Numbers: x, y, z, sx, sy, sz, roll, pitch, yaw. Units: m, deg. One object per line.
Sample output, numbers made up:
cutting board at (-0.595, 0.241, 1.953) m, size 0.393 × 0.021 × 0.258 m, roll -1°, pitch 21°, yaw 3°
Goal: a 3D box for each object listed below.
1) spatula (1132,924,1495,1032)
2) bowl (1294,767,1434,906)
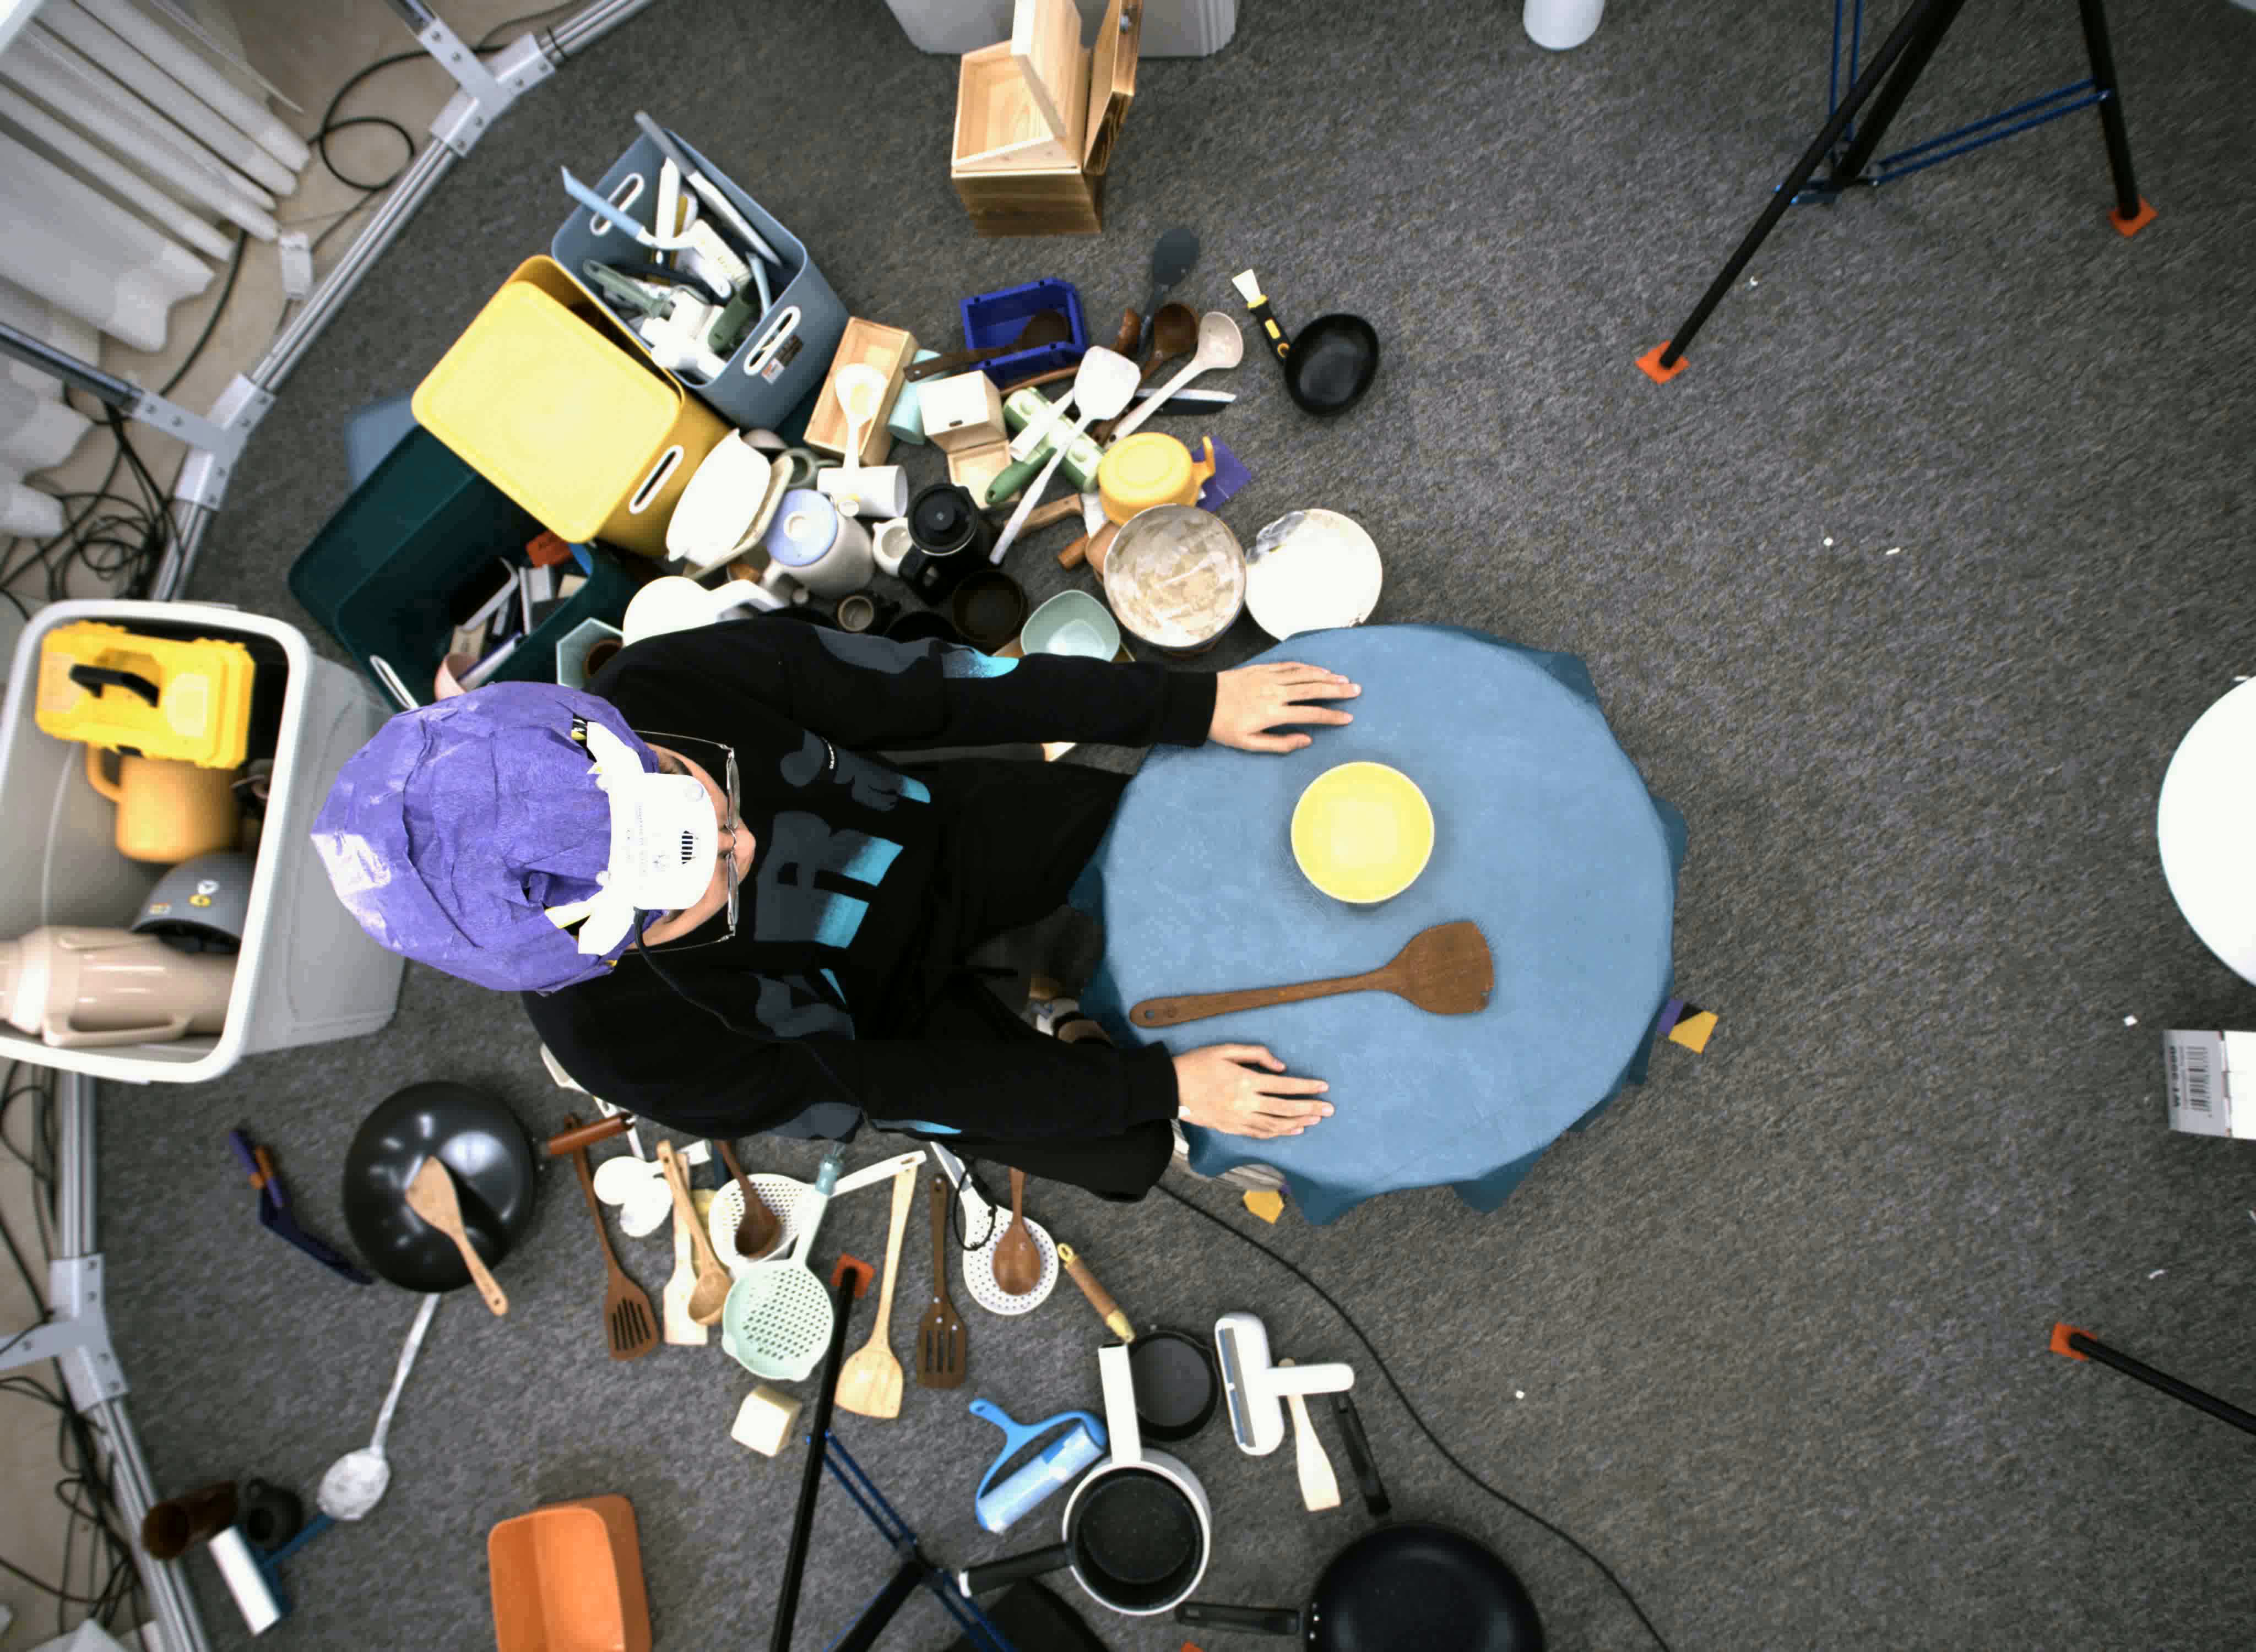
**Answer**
spatula at (0.191, 0.176, 1.465) m, size 0.388 × 0.016 × 0.095 m, roll -10°, pitch 84°, yaw 10°
bowl at (0.247, 0.014, 1.445) m, size 0.146 × 0.060 × 0.144 m, roll -2°, pitch 83°, yaw 11°
